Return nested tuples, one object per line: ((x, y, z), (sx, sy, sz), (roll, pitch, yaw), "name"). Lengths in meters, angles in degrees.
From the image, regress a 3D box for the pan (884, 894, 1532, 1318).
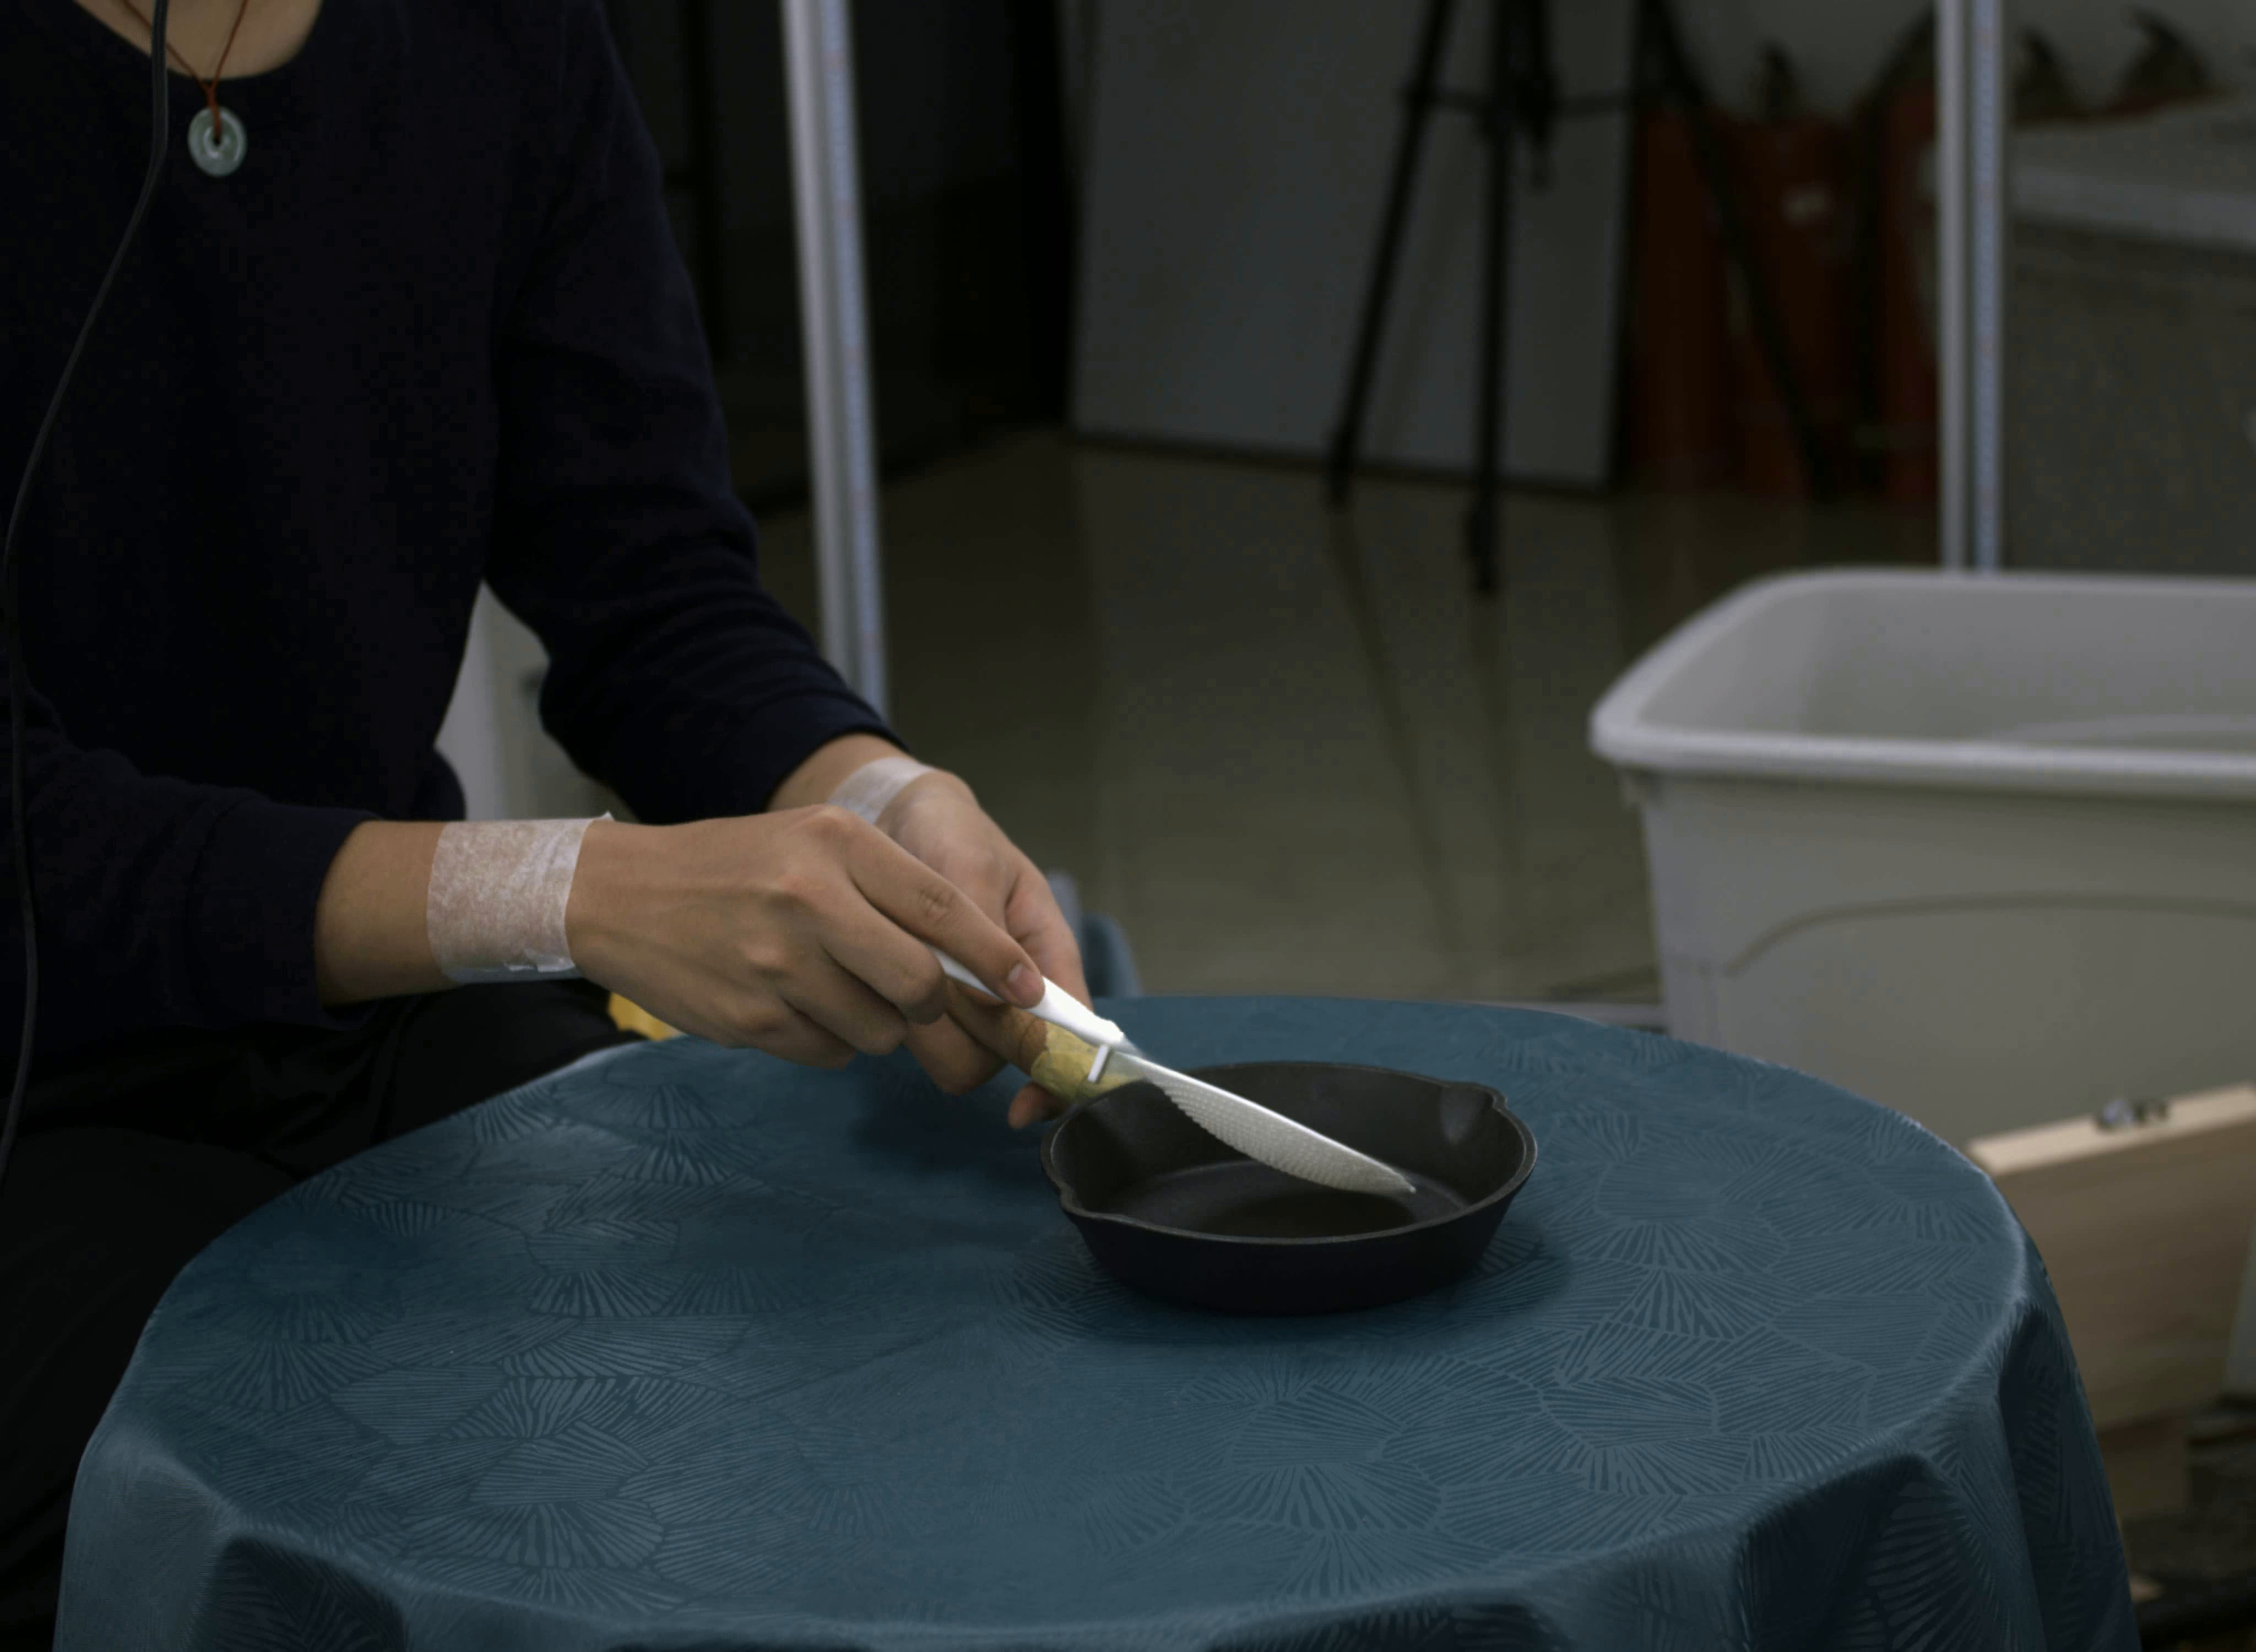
((0.004, 0.087, 1.759), (0.165, 0.050, 0.328), (-13, 22, -30), "pan")

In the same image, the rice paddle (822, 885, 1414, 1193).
((0.000, 0.072, 1.722), (0.204, 0.029, 0.068), (24, -2, 9), "rice paddle")
